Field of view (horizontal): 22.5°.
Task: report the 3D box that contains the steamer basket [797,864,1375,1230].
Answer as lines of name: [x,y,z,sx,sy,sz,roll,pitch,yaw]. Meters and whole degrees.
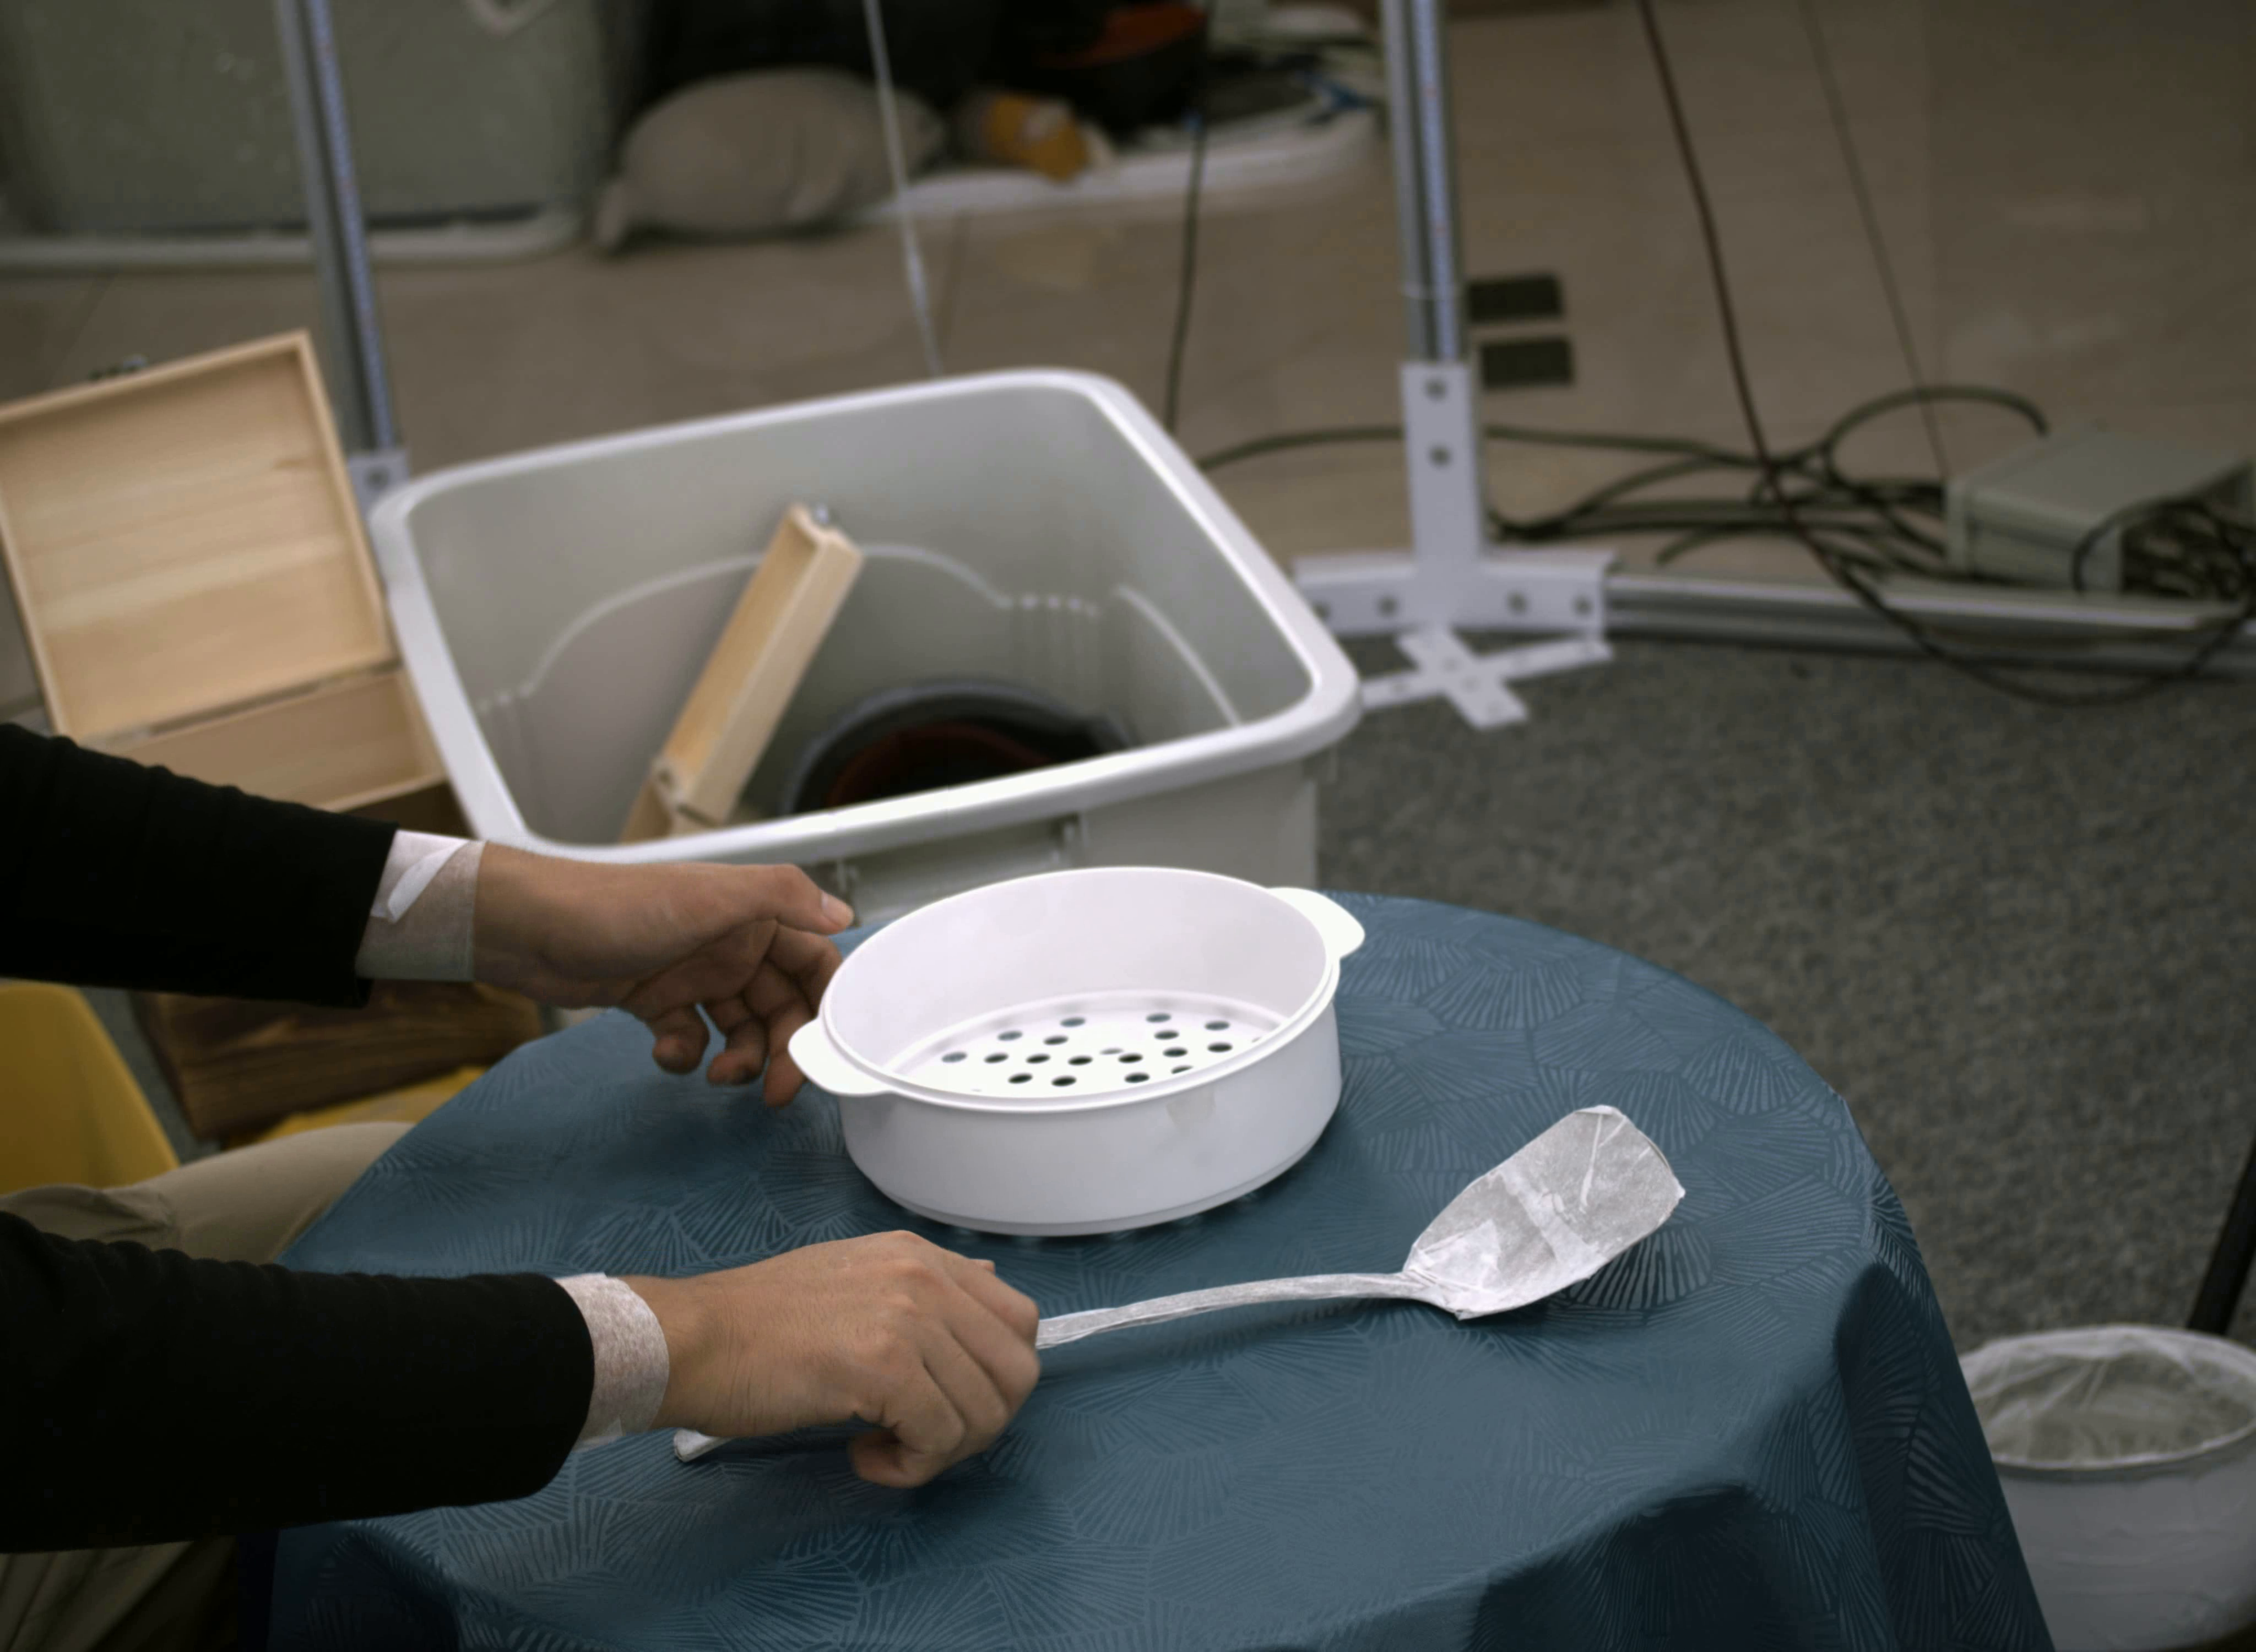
steamer basket: [-0.011,0.086,2.182,0.229,0.070,0.199,-16,26,-18]

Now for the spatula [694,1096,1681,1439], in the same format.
spatula: [0.021,0.167,2.037,0.364,0.045,0.097,-11,28,-9]
